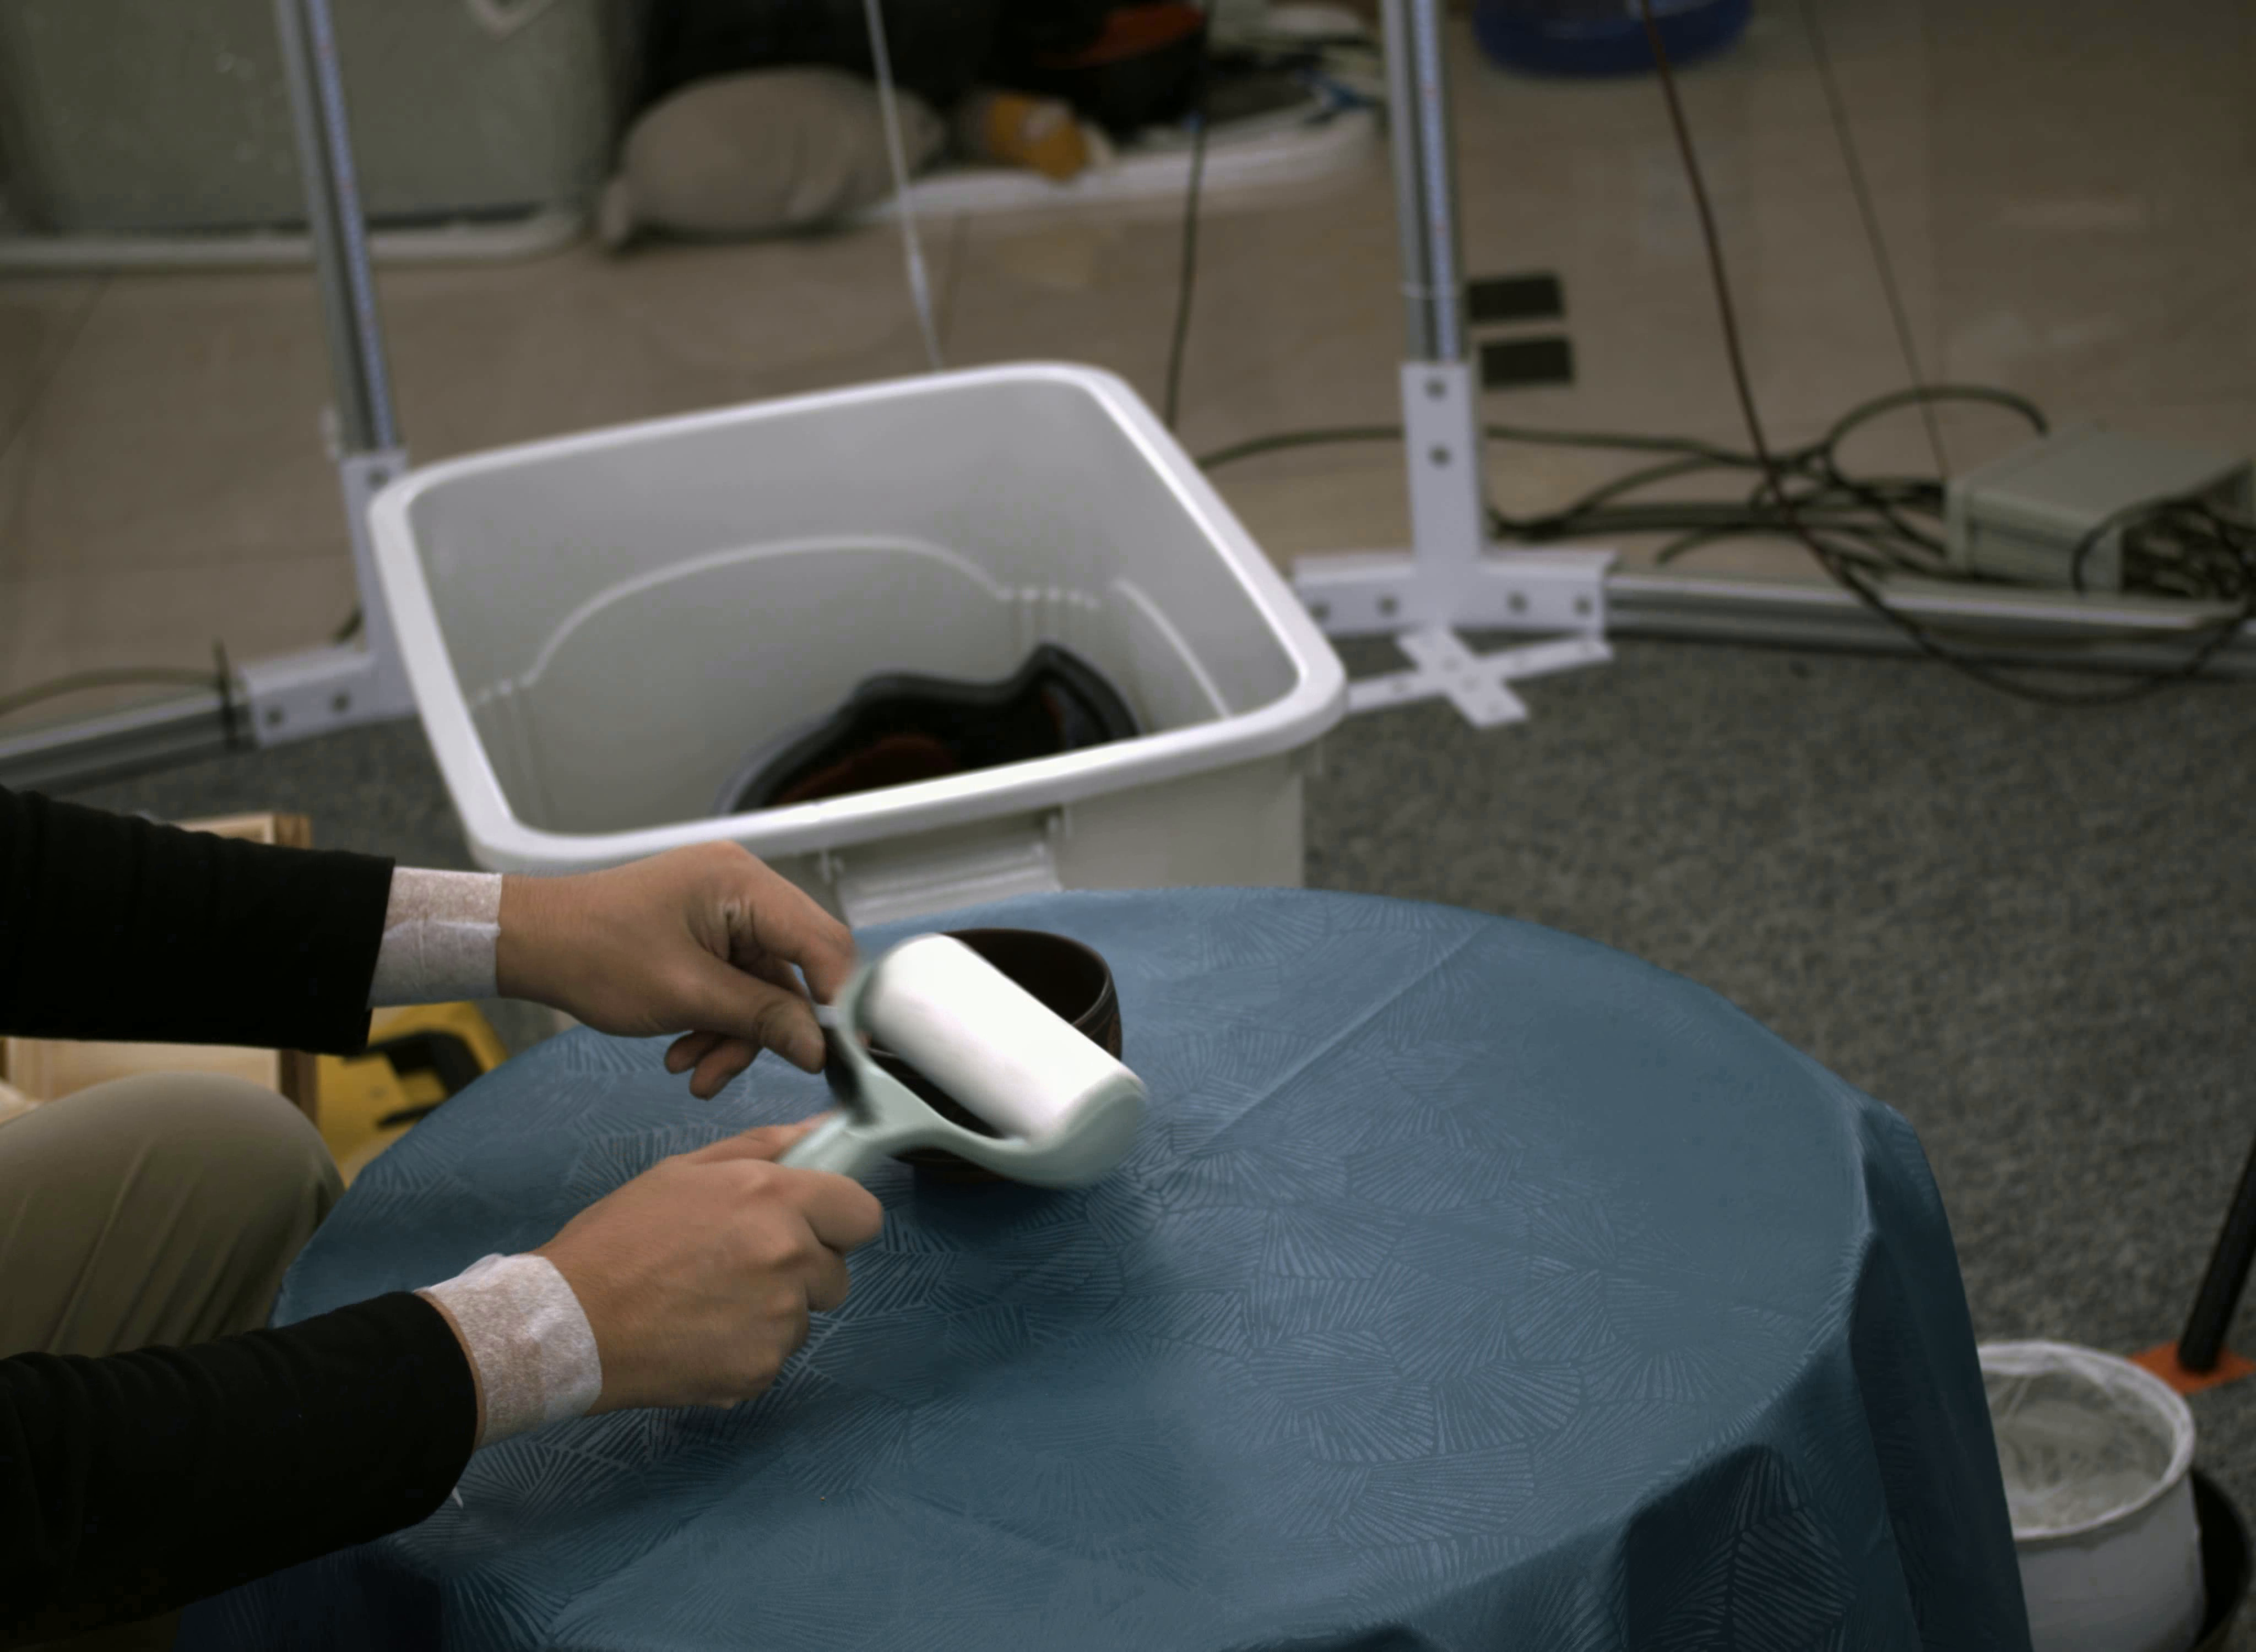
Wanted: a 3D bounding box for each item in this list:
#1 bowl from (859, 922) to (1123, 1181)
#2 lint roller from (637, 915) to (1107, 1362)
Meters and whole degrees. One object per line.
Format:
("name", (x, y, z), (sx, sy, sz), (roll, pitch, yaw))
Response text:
("bowl", (-0.059, 0.093, 2.175), (0.118, 0.071, 0.116), (-6, 26, 3))
("lint roller", (-0.110, 0.117, 2.054), (0.115, 0.049, 0.195), (33, 58, 29))
